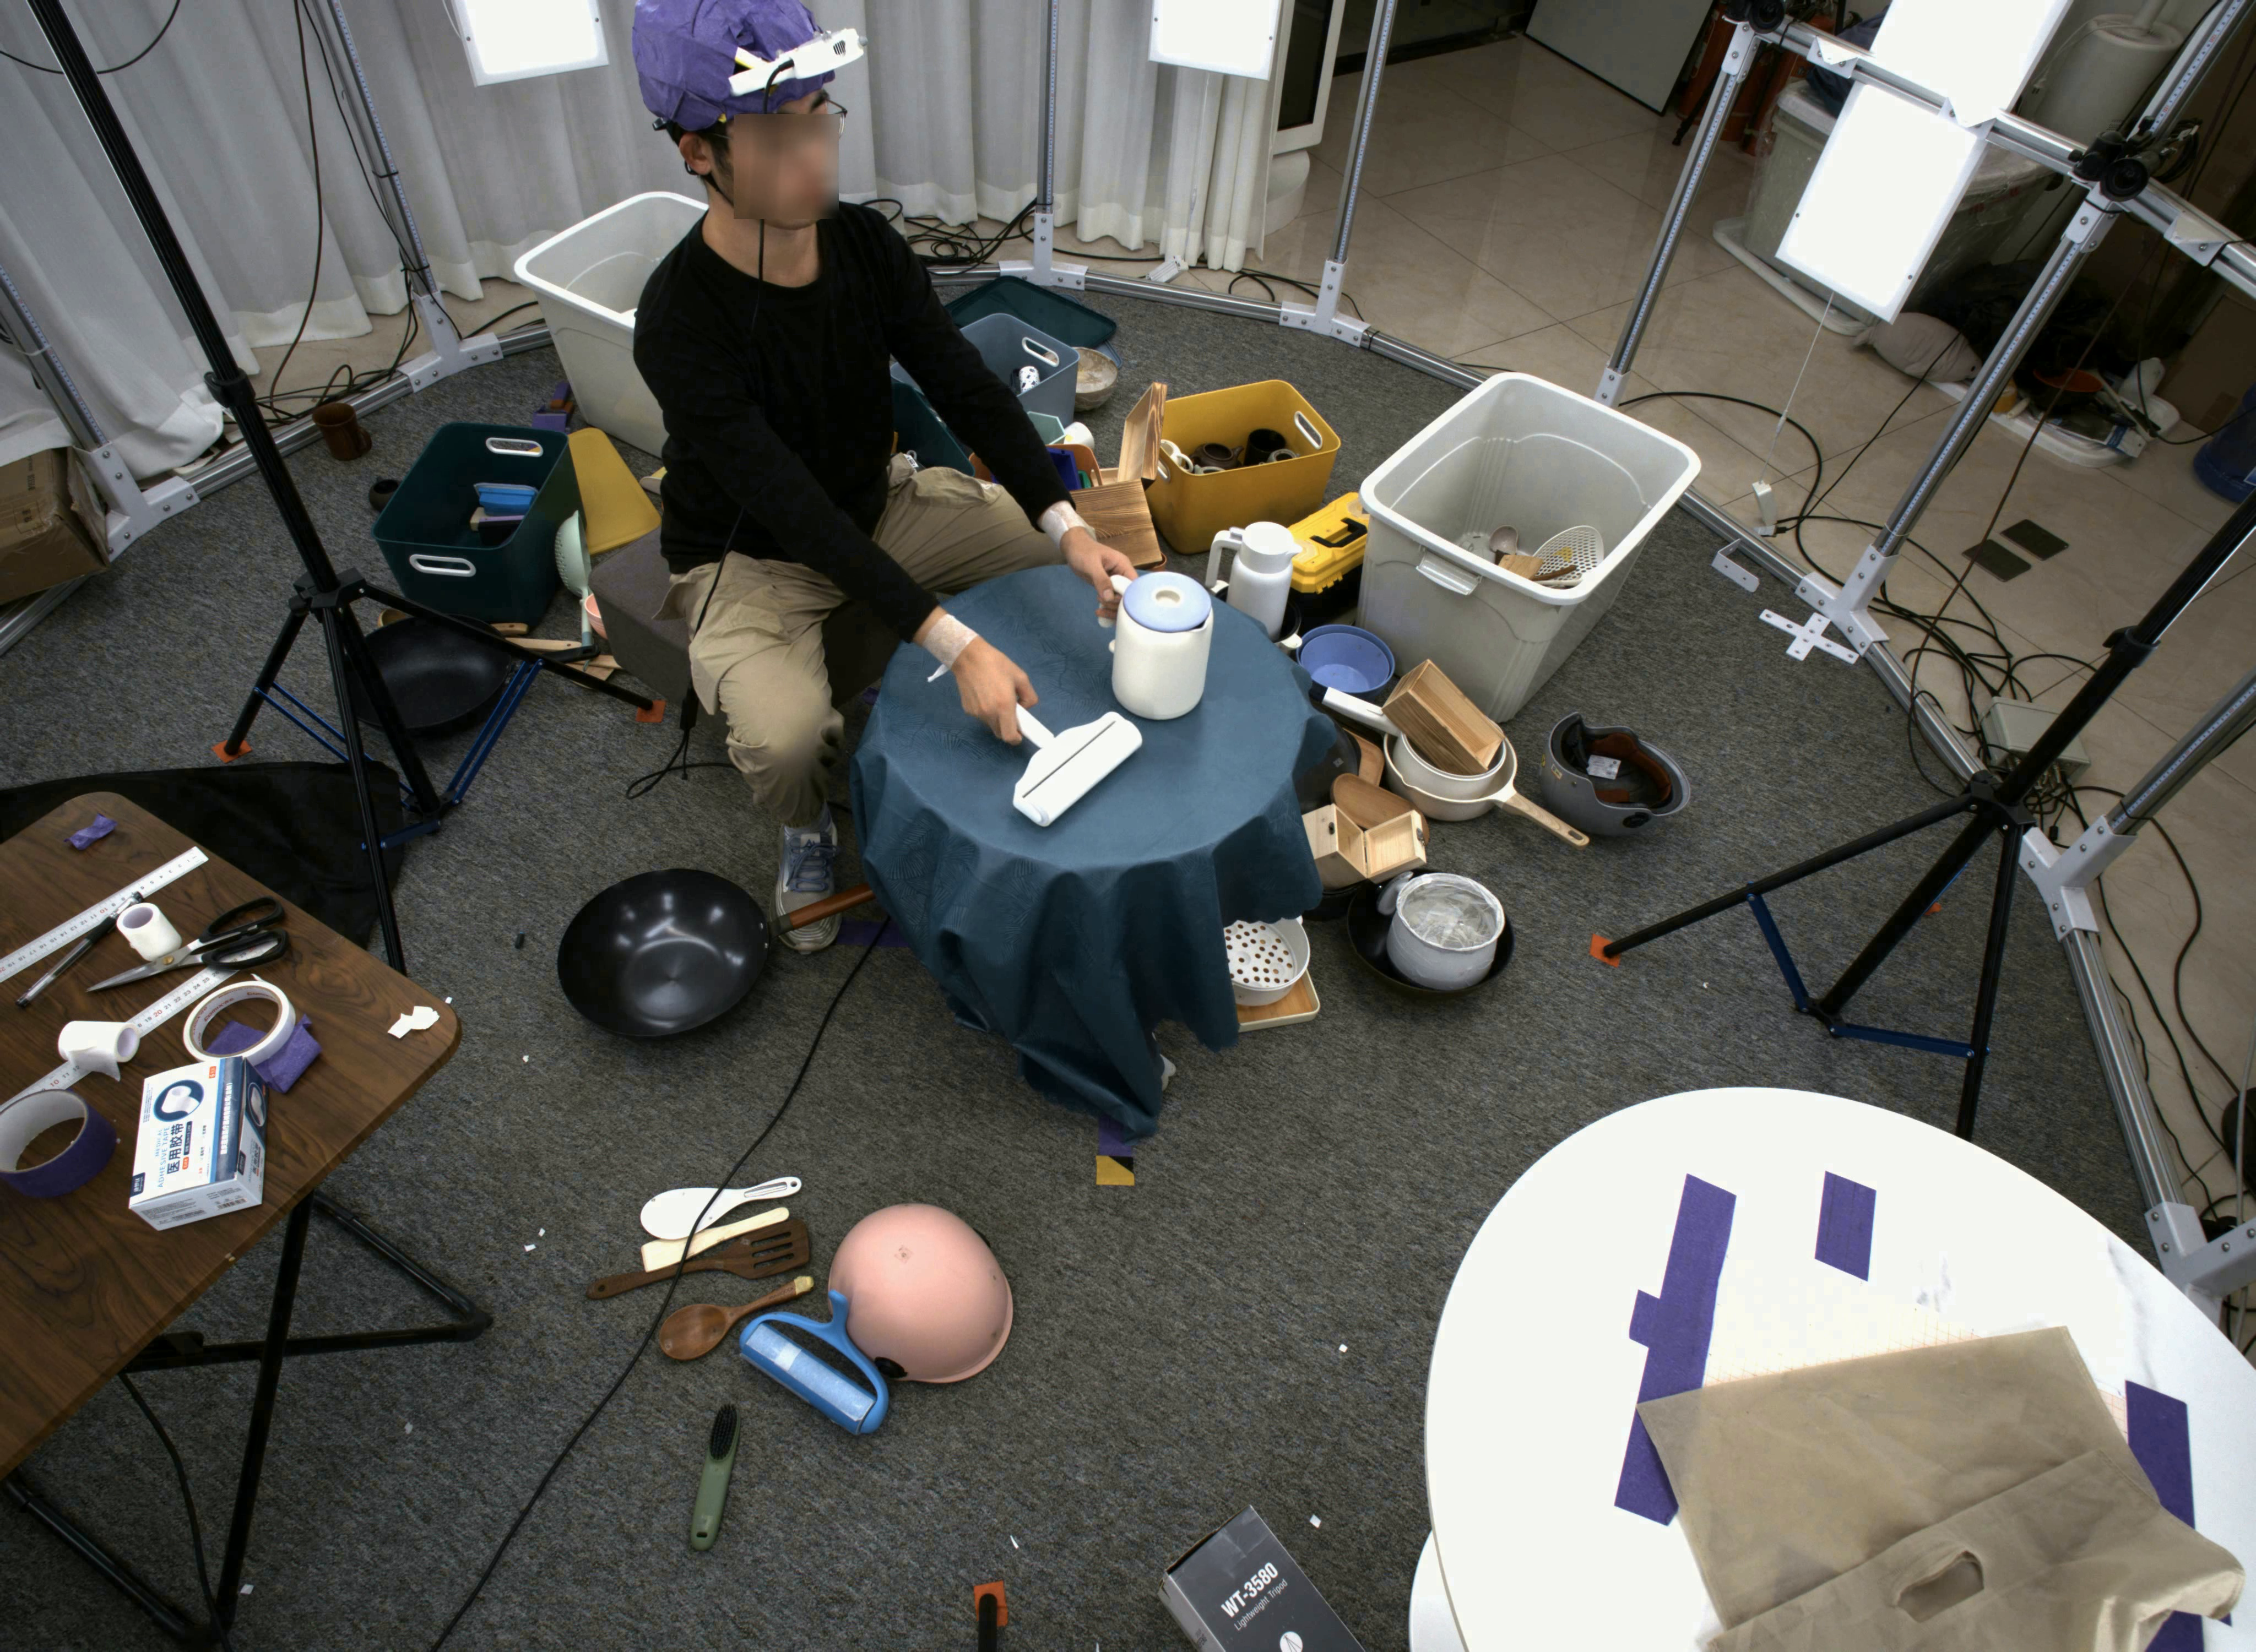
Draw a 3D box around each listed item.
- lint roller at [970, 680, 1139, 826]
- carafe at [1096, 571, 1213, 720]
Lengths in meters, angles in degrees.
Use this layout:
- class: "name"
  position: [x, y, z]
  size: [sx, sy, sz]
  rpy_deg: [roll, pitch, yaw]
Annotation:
- class: "lint roller"
  position: [-0.126, -0.129, 1.720]
  size: [0.227, 0.047, 0.205]
  rpy_deg: [40, 58, 13]
- class: "carafe"
  position: [0.029, -0.262, 1.789]
  size: [0.194, 0.178, 0.133]
  rpy_deg: [36, 55, 26]
